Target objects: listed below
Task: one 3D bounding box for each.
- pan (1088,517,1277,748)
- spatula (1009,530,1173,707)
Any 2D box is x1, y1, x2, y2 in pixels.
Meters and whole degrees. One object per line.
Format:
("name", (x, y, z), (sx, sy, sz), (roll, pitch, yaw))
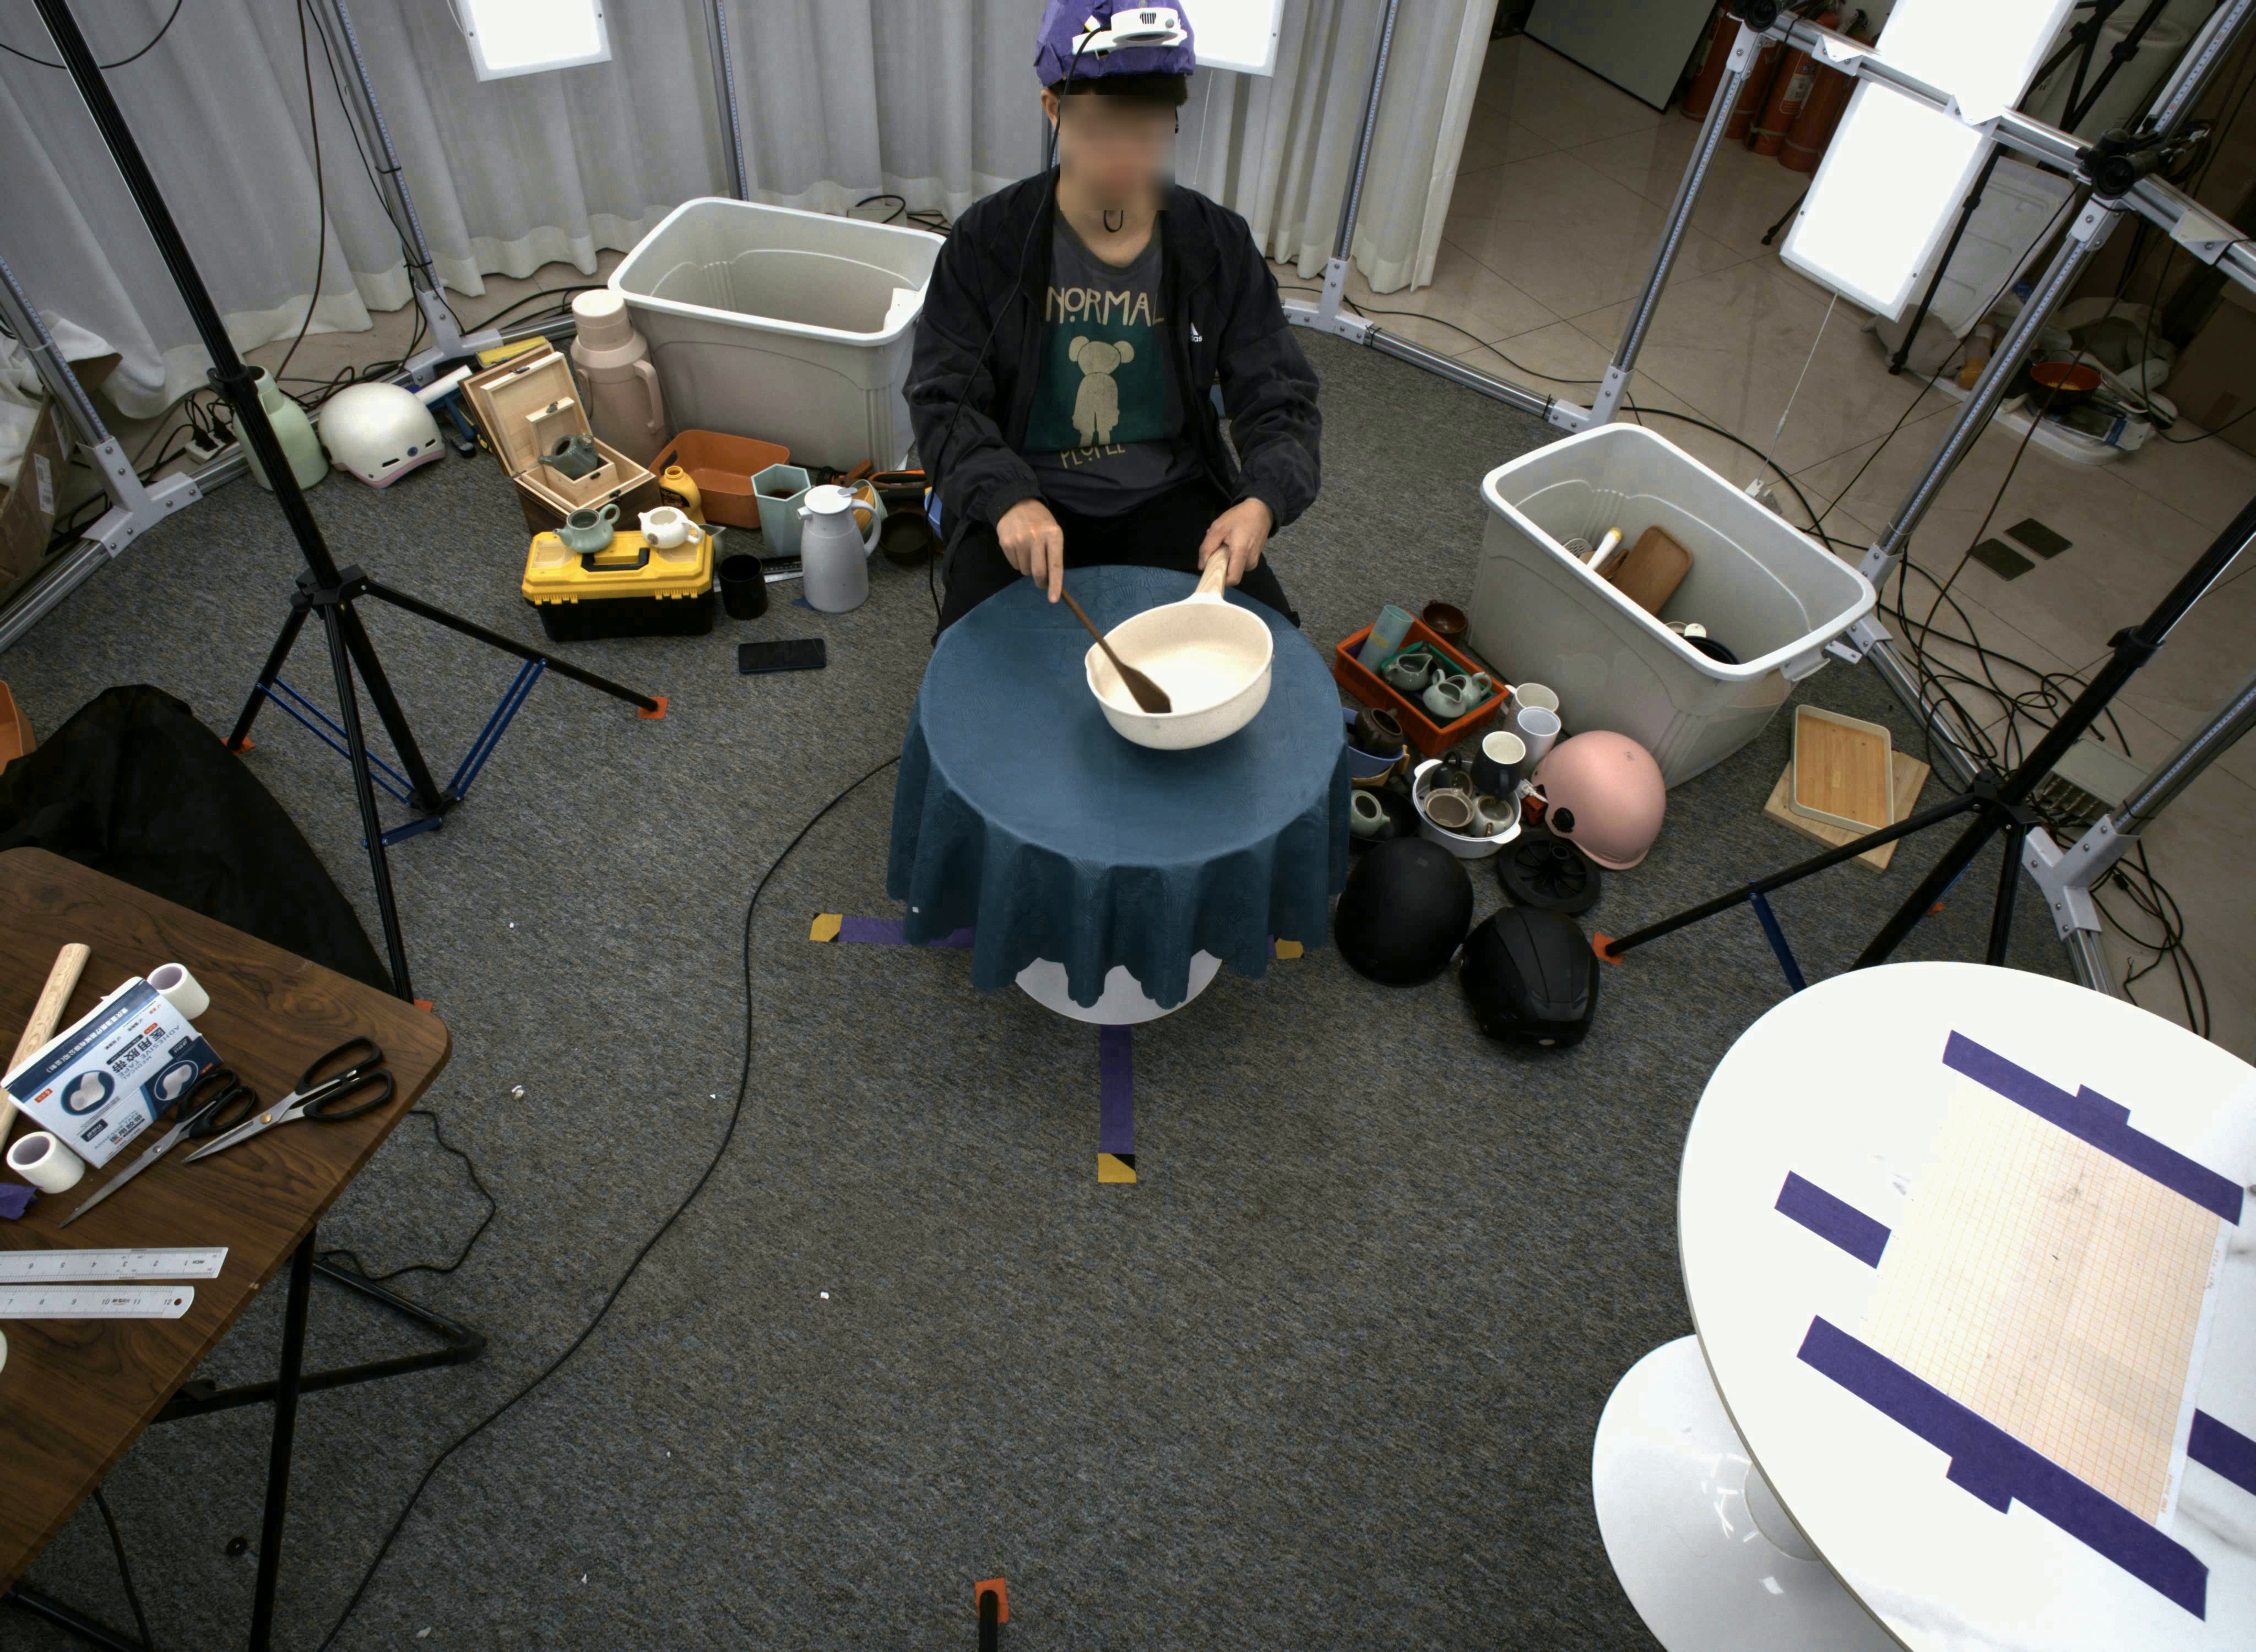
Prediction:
("pan", (0.105, -0.270, 1.789), (0.264, 0.099, 0.444), (2, 44, 23))
("spatula", (-0.052, -0.278, 1.750), (0.016, 0.094, 0.392), (-32, 65, -13))
